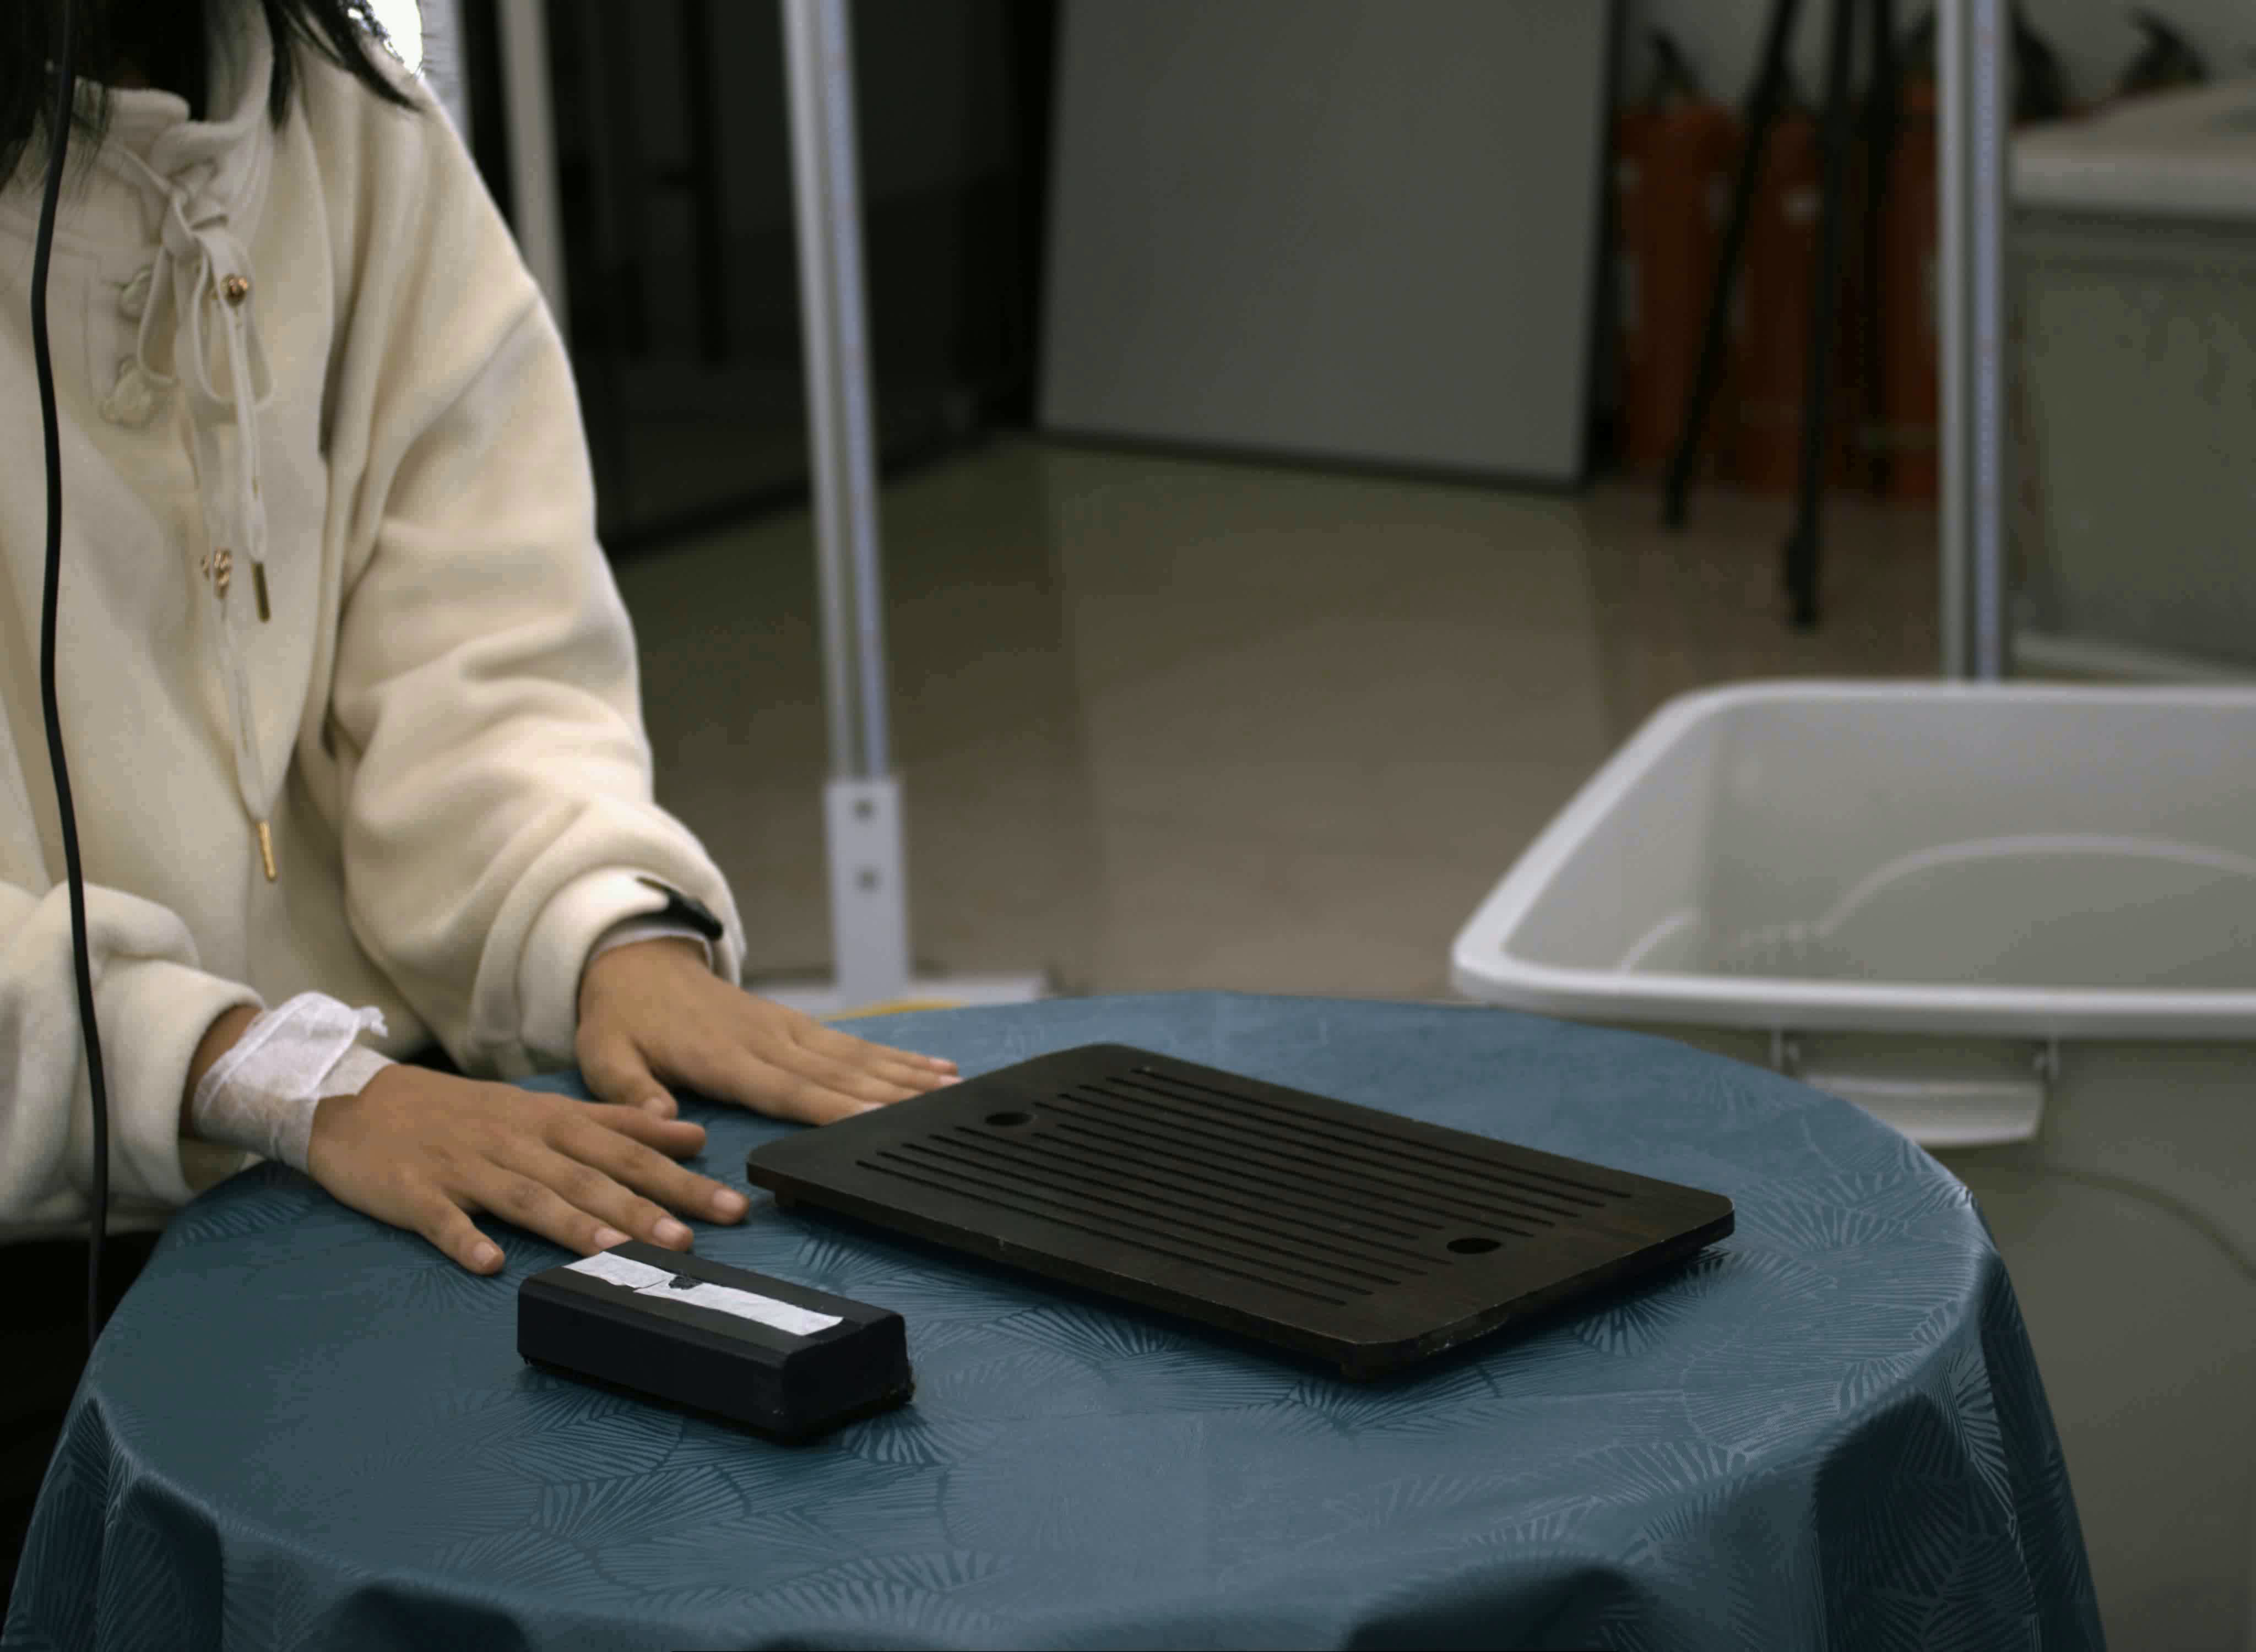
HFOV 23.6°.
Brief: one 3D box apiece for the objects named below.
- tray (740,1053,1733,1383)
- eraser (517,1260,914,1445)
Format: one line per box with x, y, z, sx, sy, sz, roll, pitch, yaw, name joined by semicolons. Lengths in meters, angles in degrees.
0.030;0.122;1.720;0.166;0.019;0.309;-16;18;-40;tray
-0.122;0.156;1.610;0.052;0.031;0.126;-14;15;-43;eraser
